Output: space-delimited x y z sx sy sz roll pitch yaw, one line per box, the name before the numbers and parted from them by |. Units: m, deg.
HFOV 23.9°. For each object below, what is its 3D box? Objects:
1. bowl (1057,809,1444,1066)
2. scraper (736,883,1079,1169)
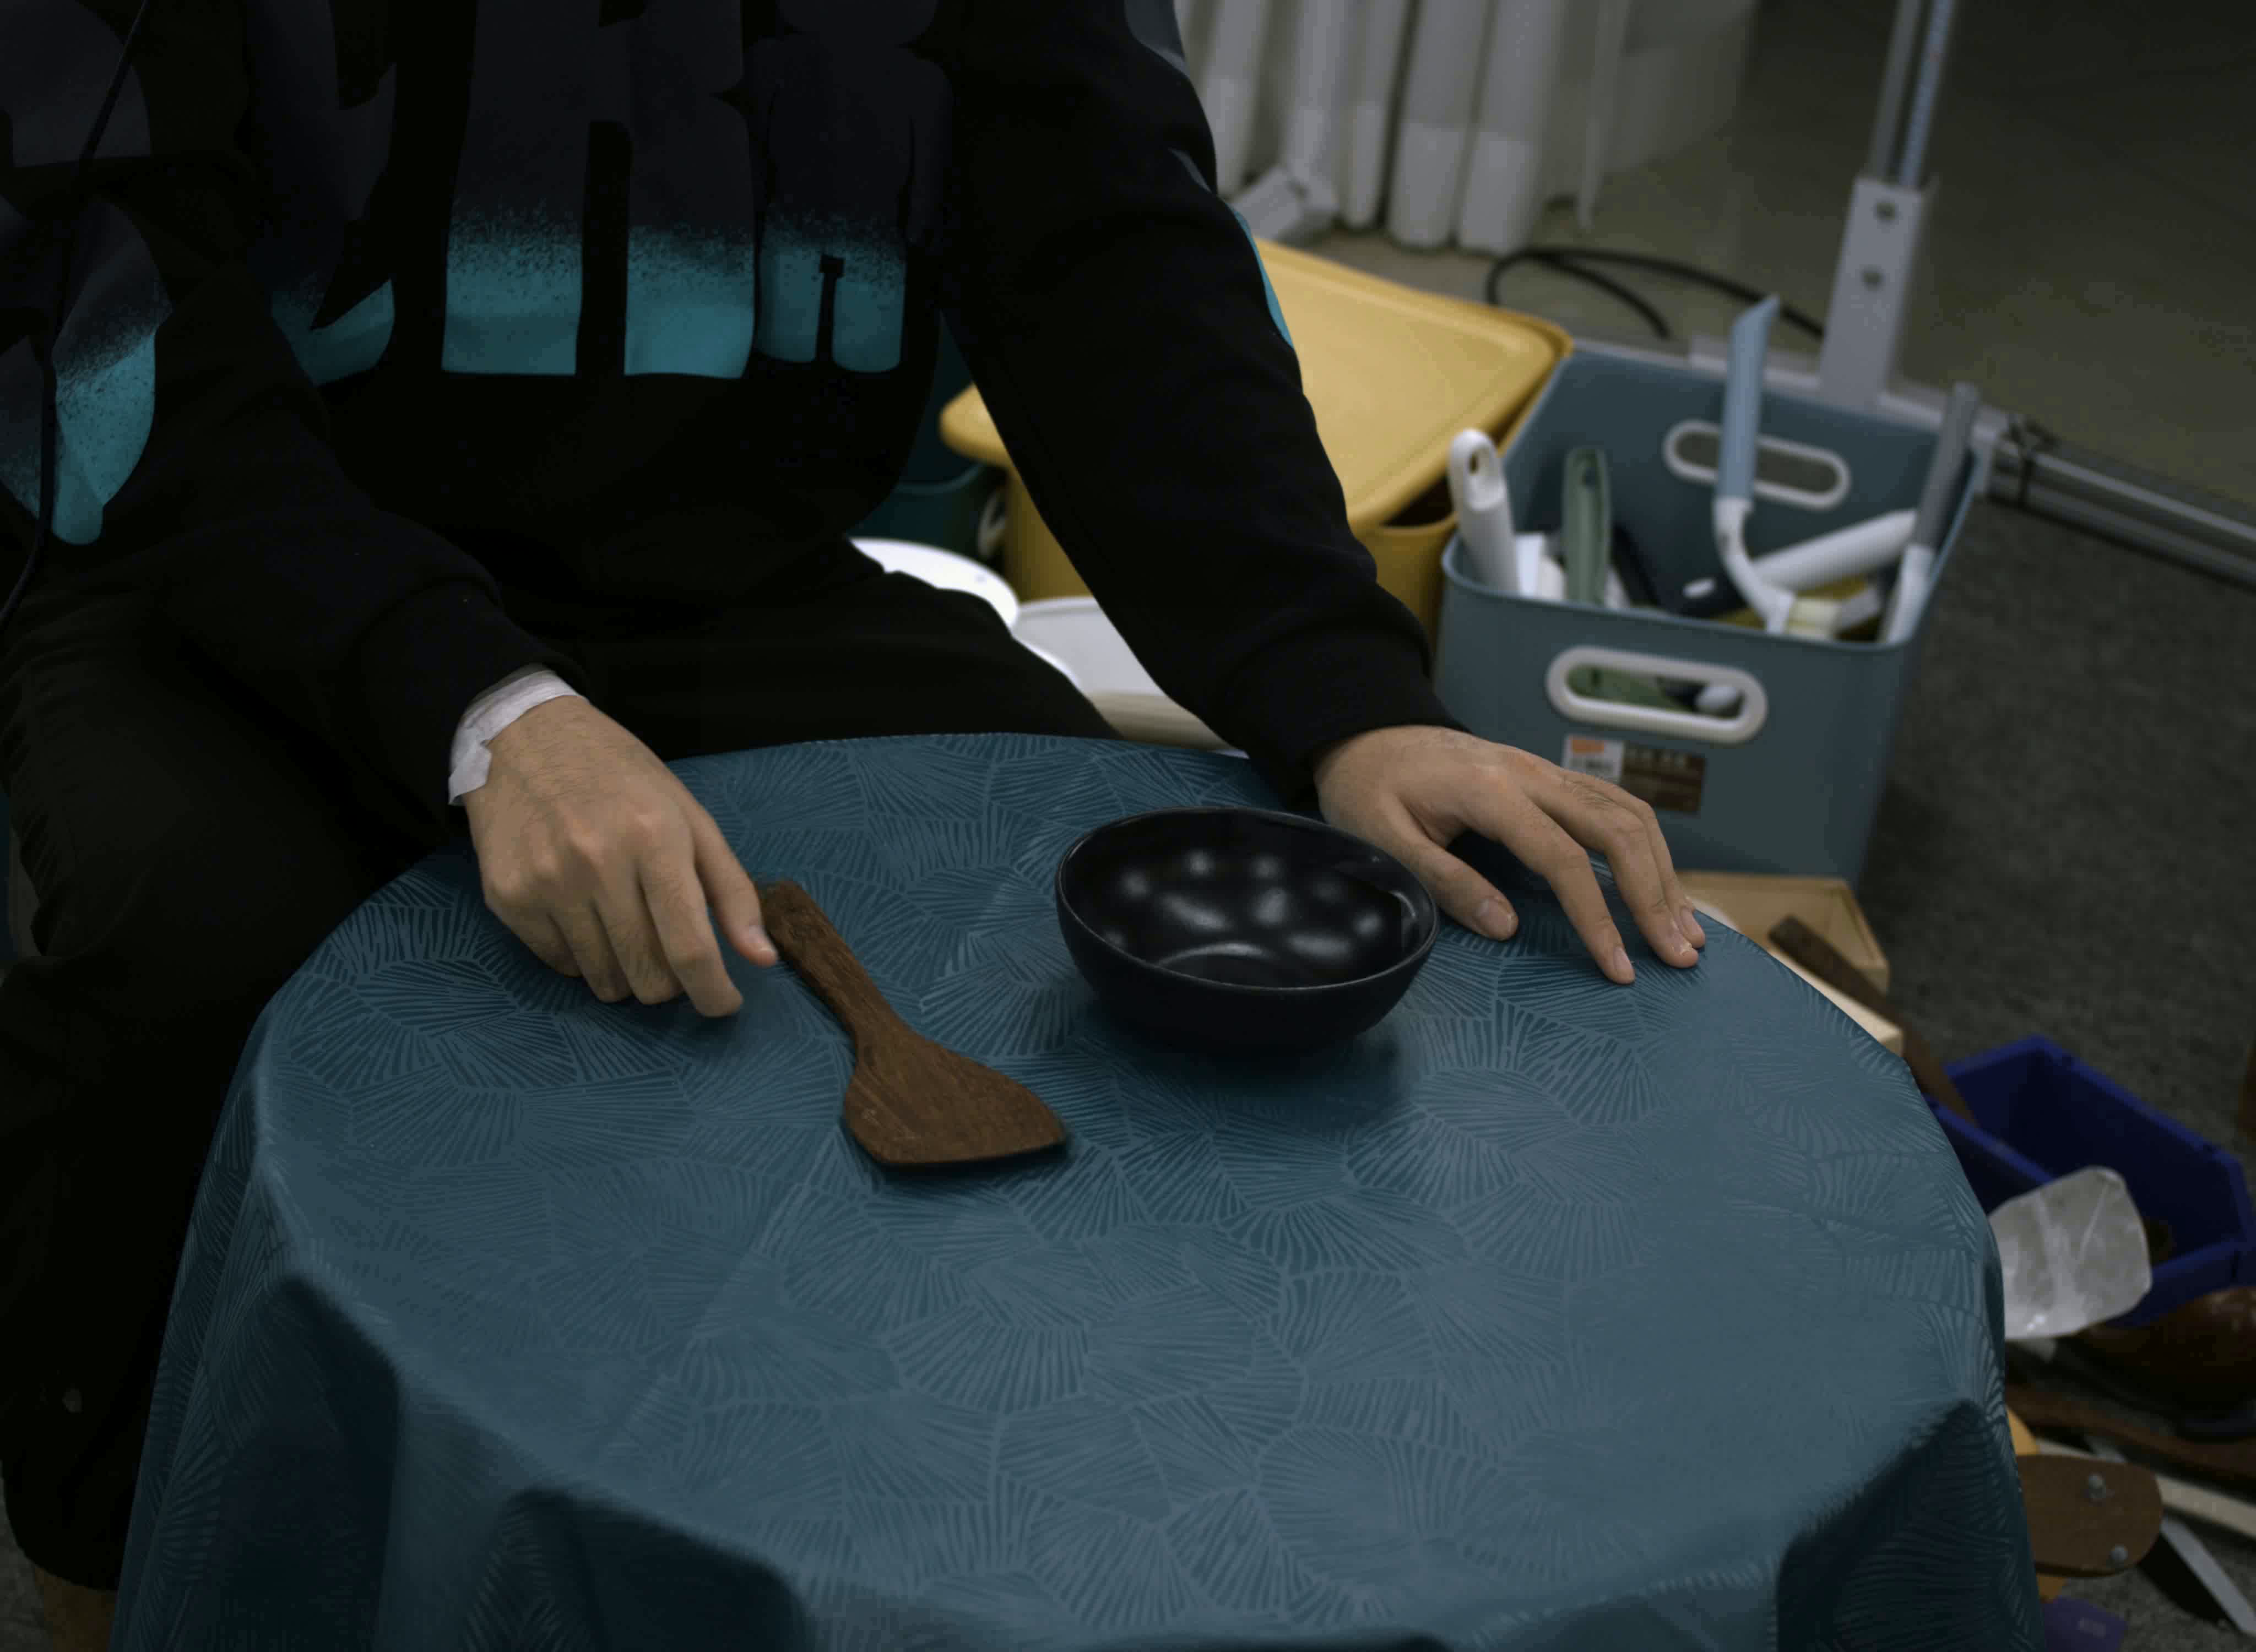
bowl | 0.042 0.047 1.909 0.139 0.049 0.141 3 27 -2
scraper | -0.090 0.069 1.879 0.075 0.011 0.213 -6 28 -25
